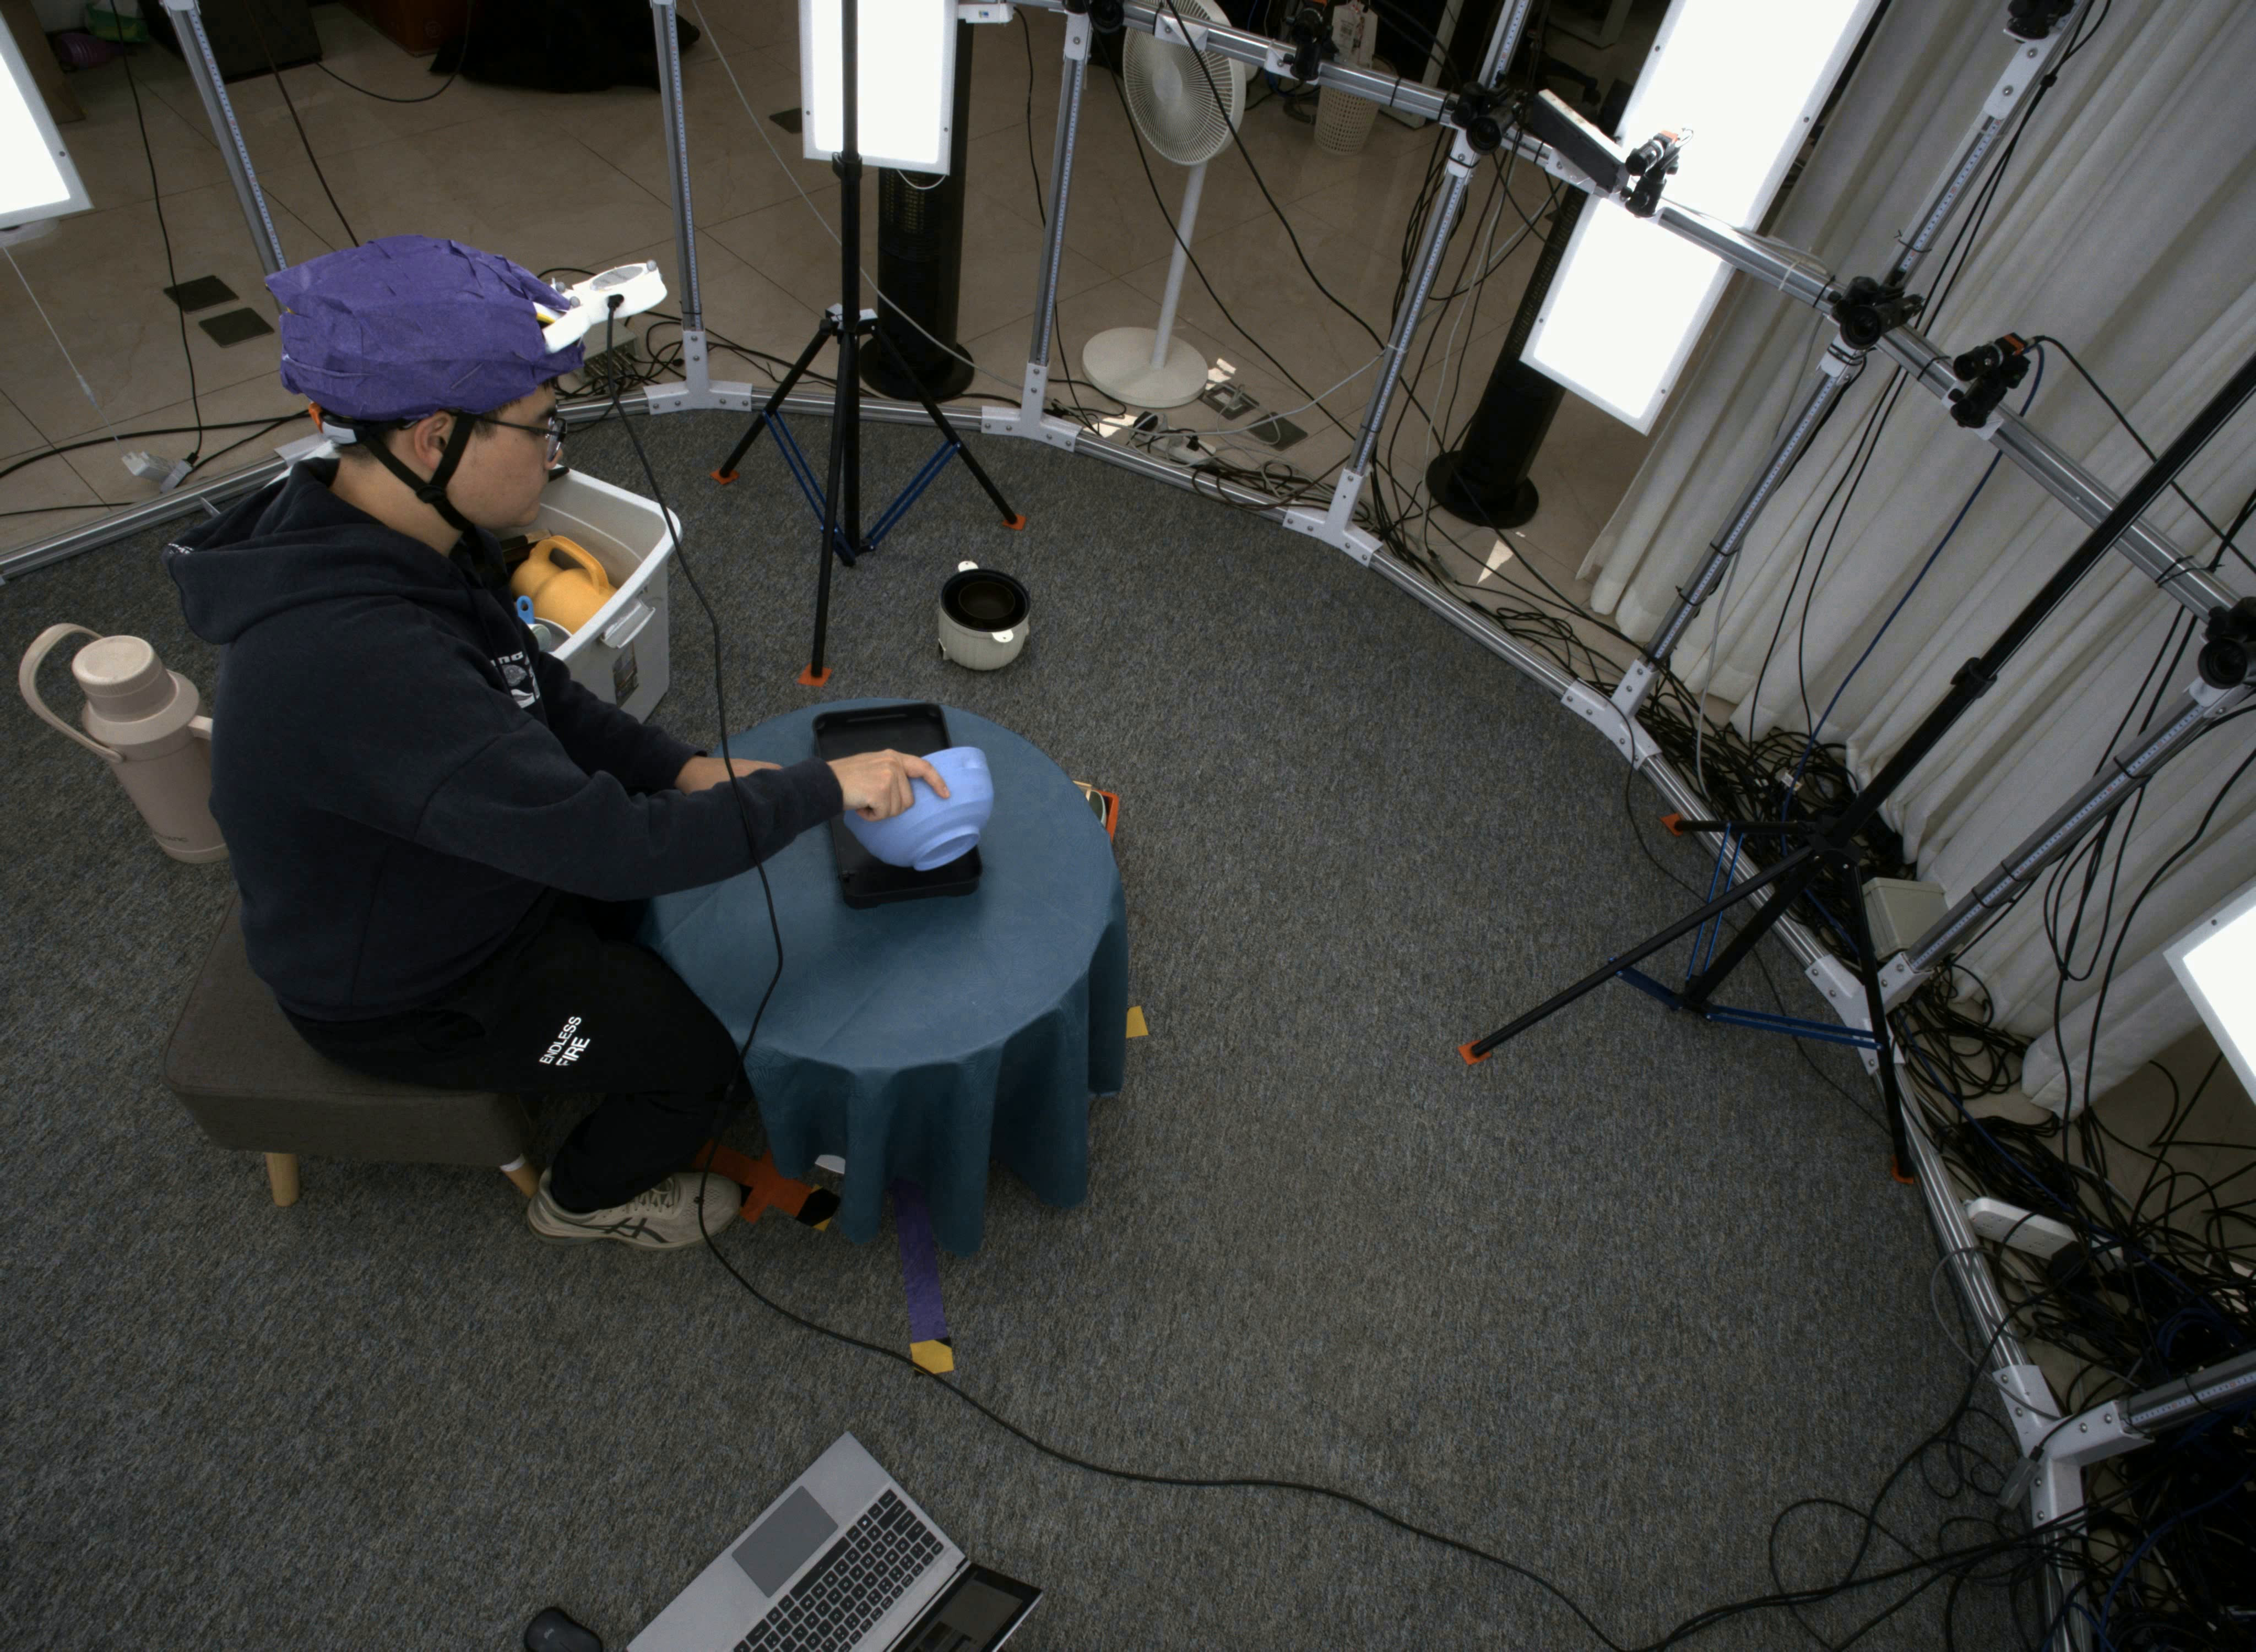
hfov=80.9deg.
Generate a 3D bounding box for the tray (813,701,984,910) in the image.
[{"bbox_3d":[-0.313,-0.035,1.749,0.185,0.038,0.310,-7,56,-18],"label":"tray"}]

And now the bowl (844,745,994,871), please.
[{"bbox_3d":[-0.246,-0.008,1.628,0.197,0.197,0.094,-22,75,-27],"label":"bowl"}]
